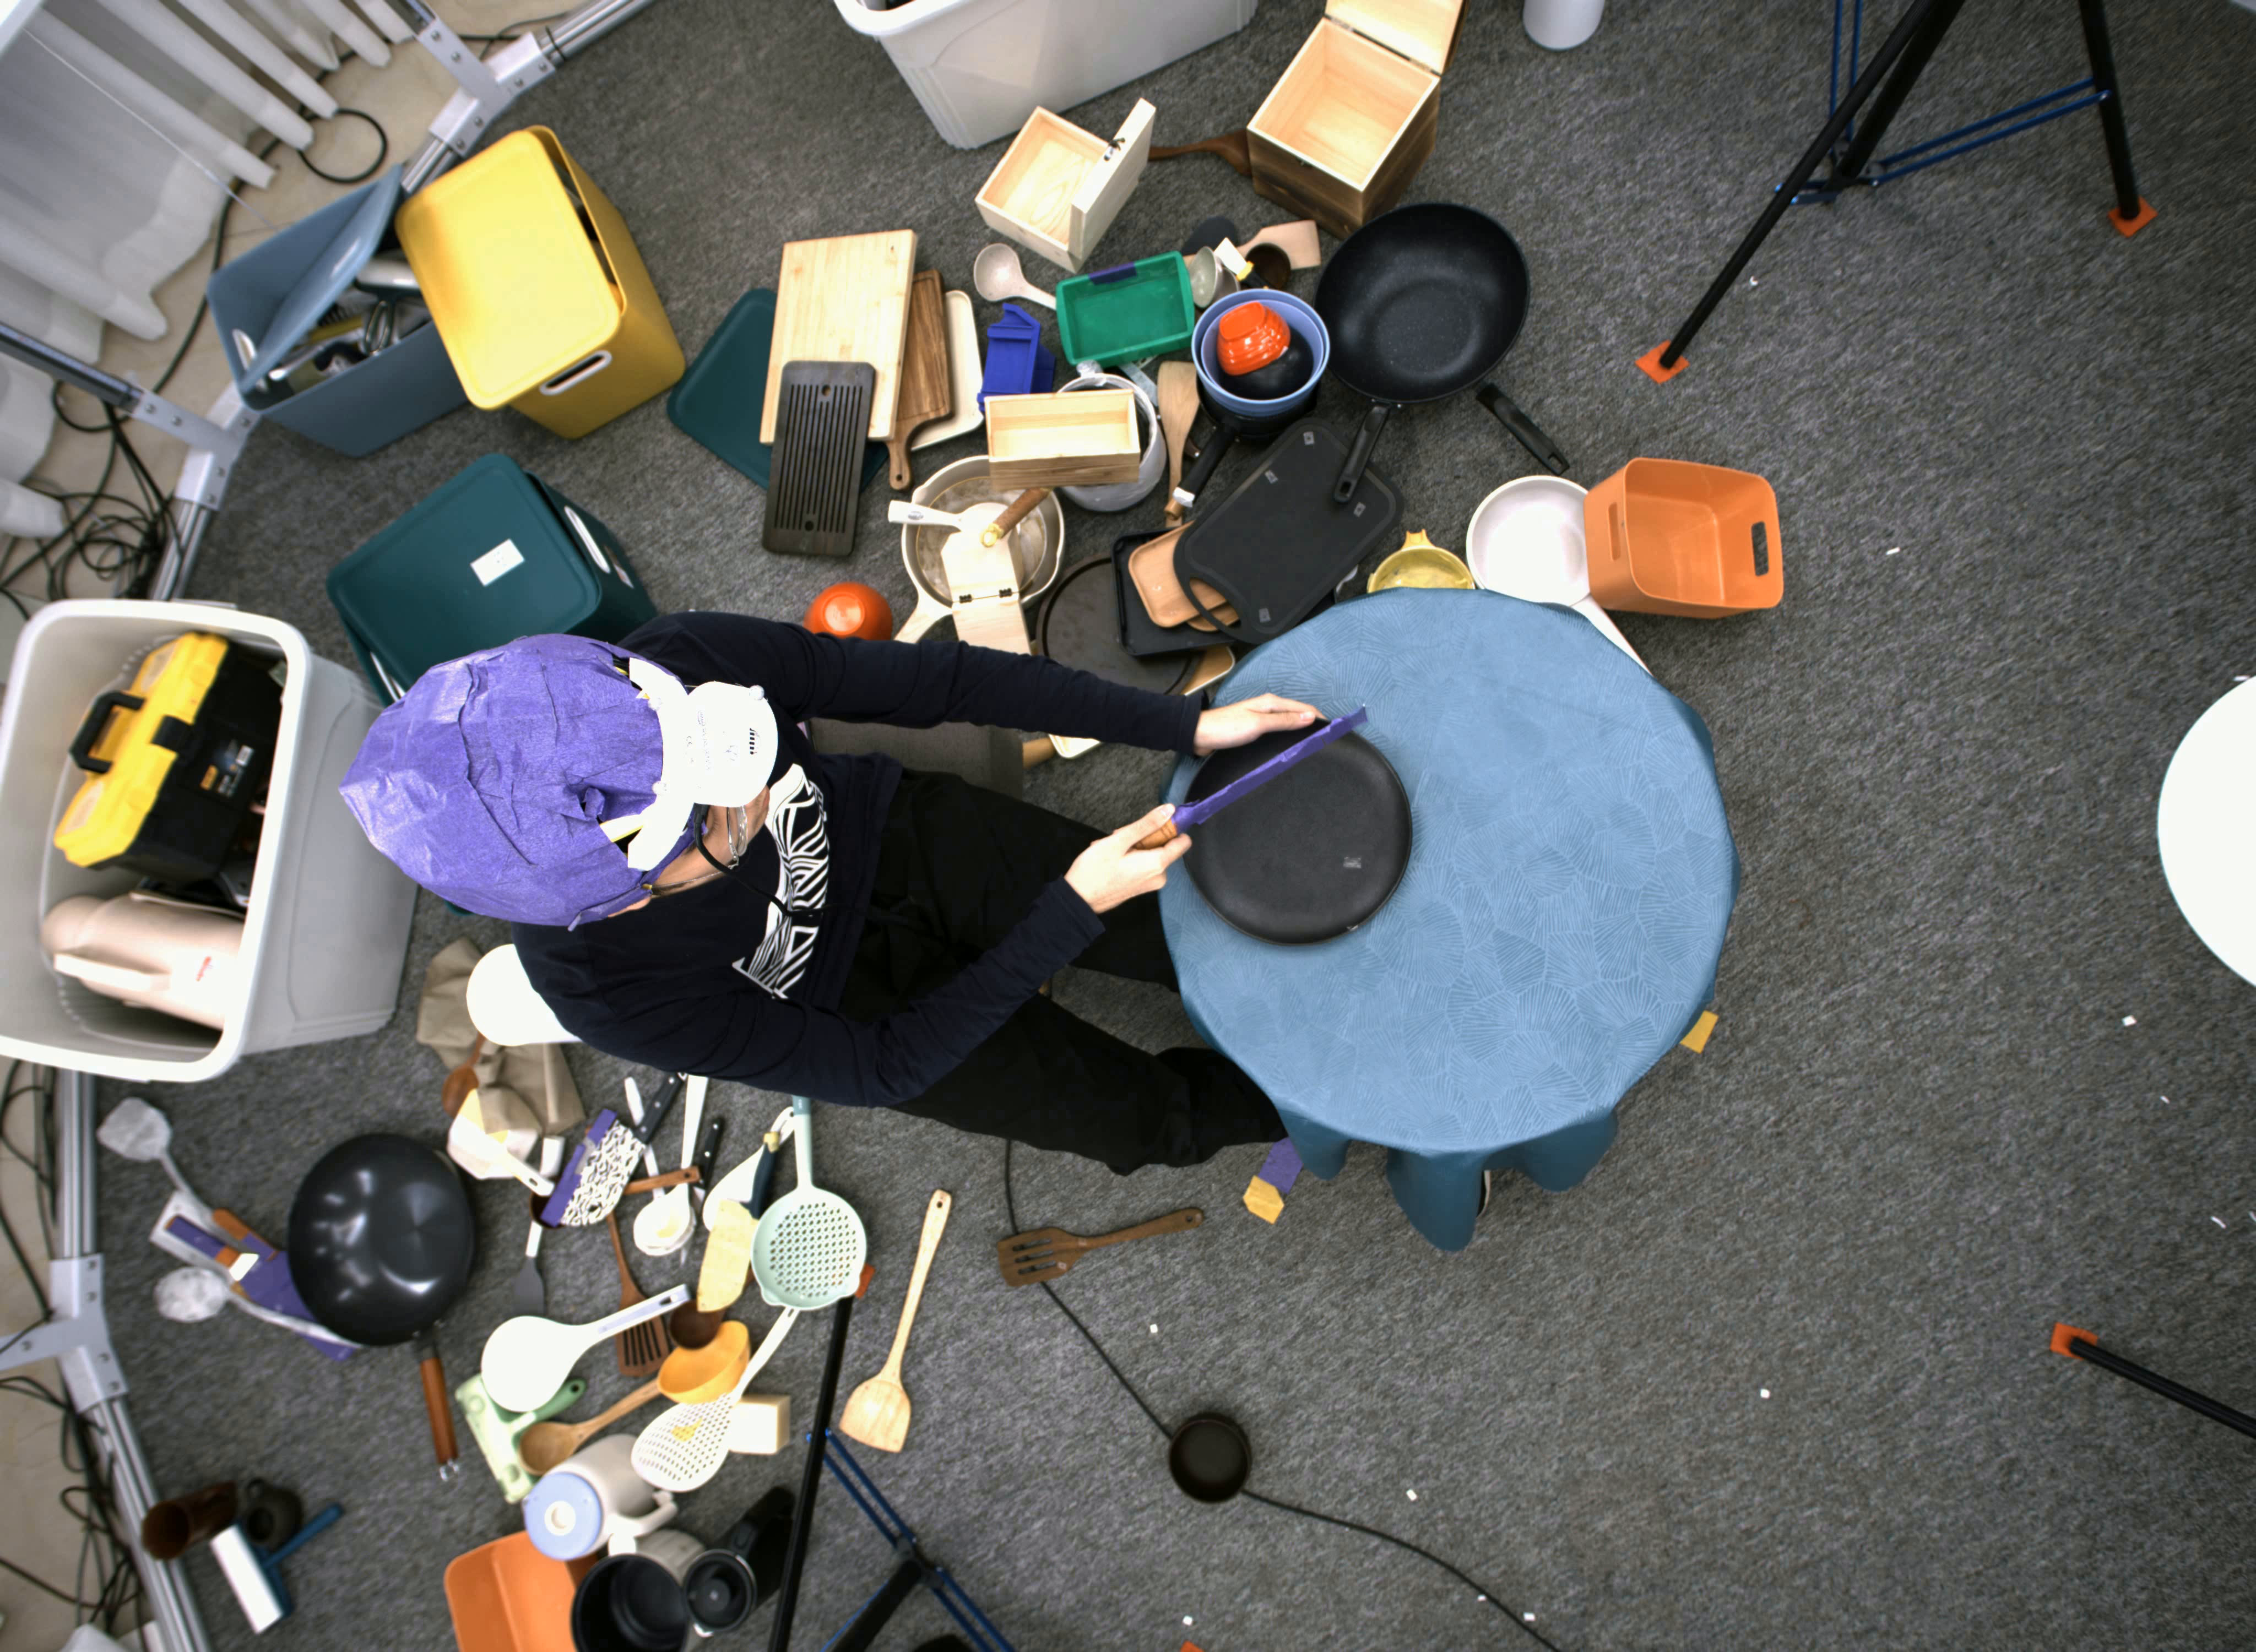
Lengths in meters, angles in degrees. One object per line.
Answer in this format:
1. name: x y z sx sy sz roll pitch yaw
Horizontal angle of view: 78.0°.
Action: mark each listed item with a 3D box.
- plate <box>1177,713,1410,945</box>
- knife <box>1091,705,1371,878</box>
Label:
1. plate: 0.174 0.003 1.458 0.245 0.023 0.245 0 95 7
2. knife: 0.110 -0.034 1.405 0.317 0.104 0.032 -29 79 9
